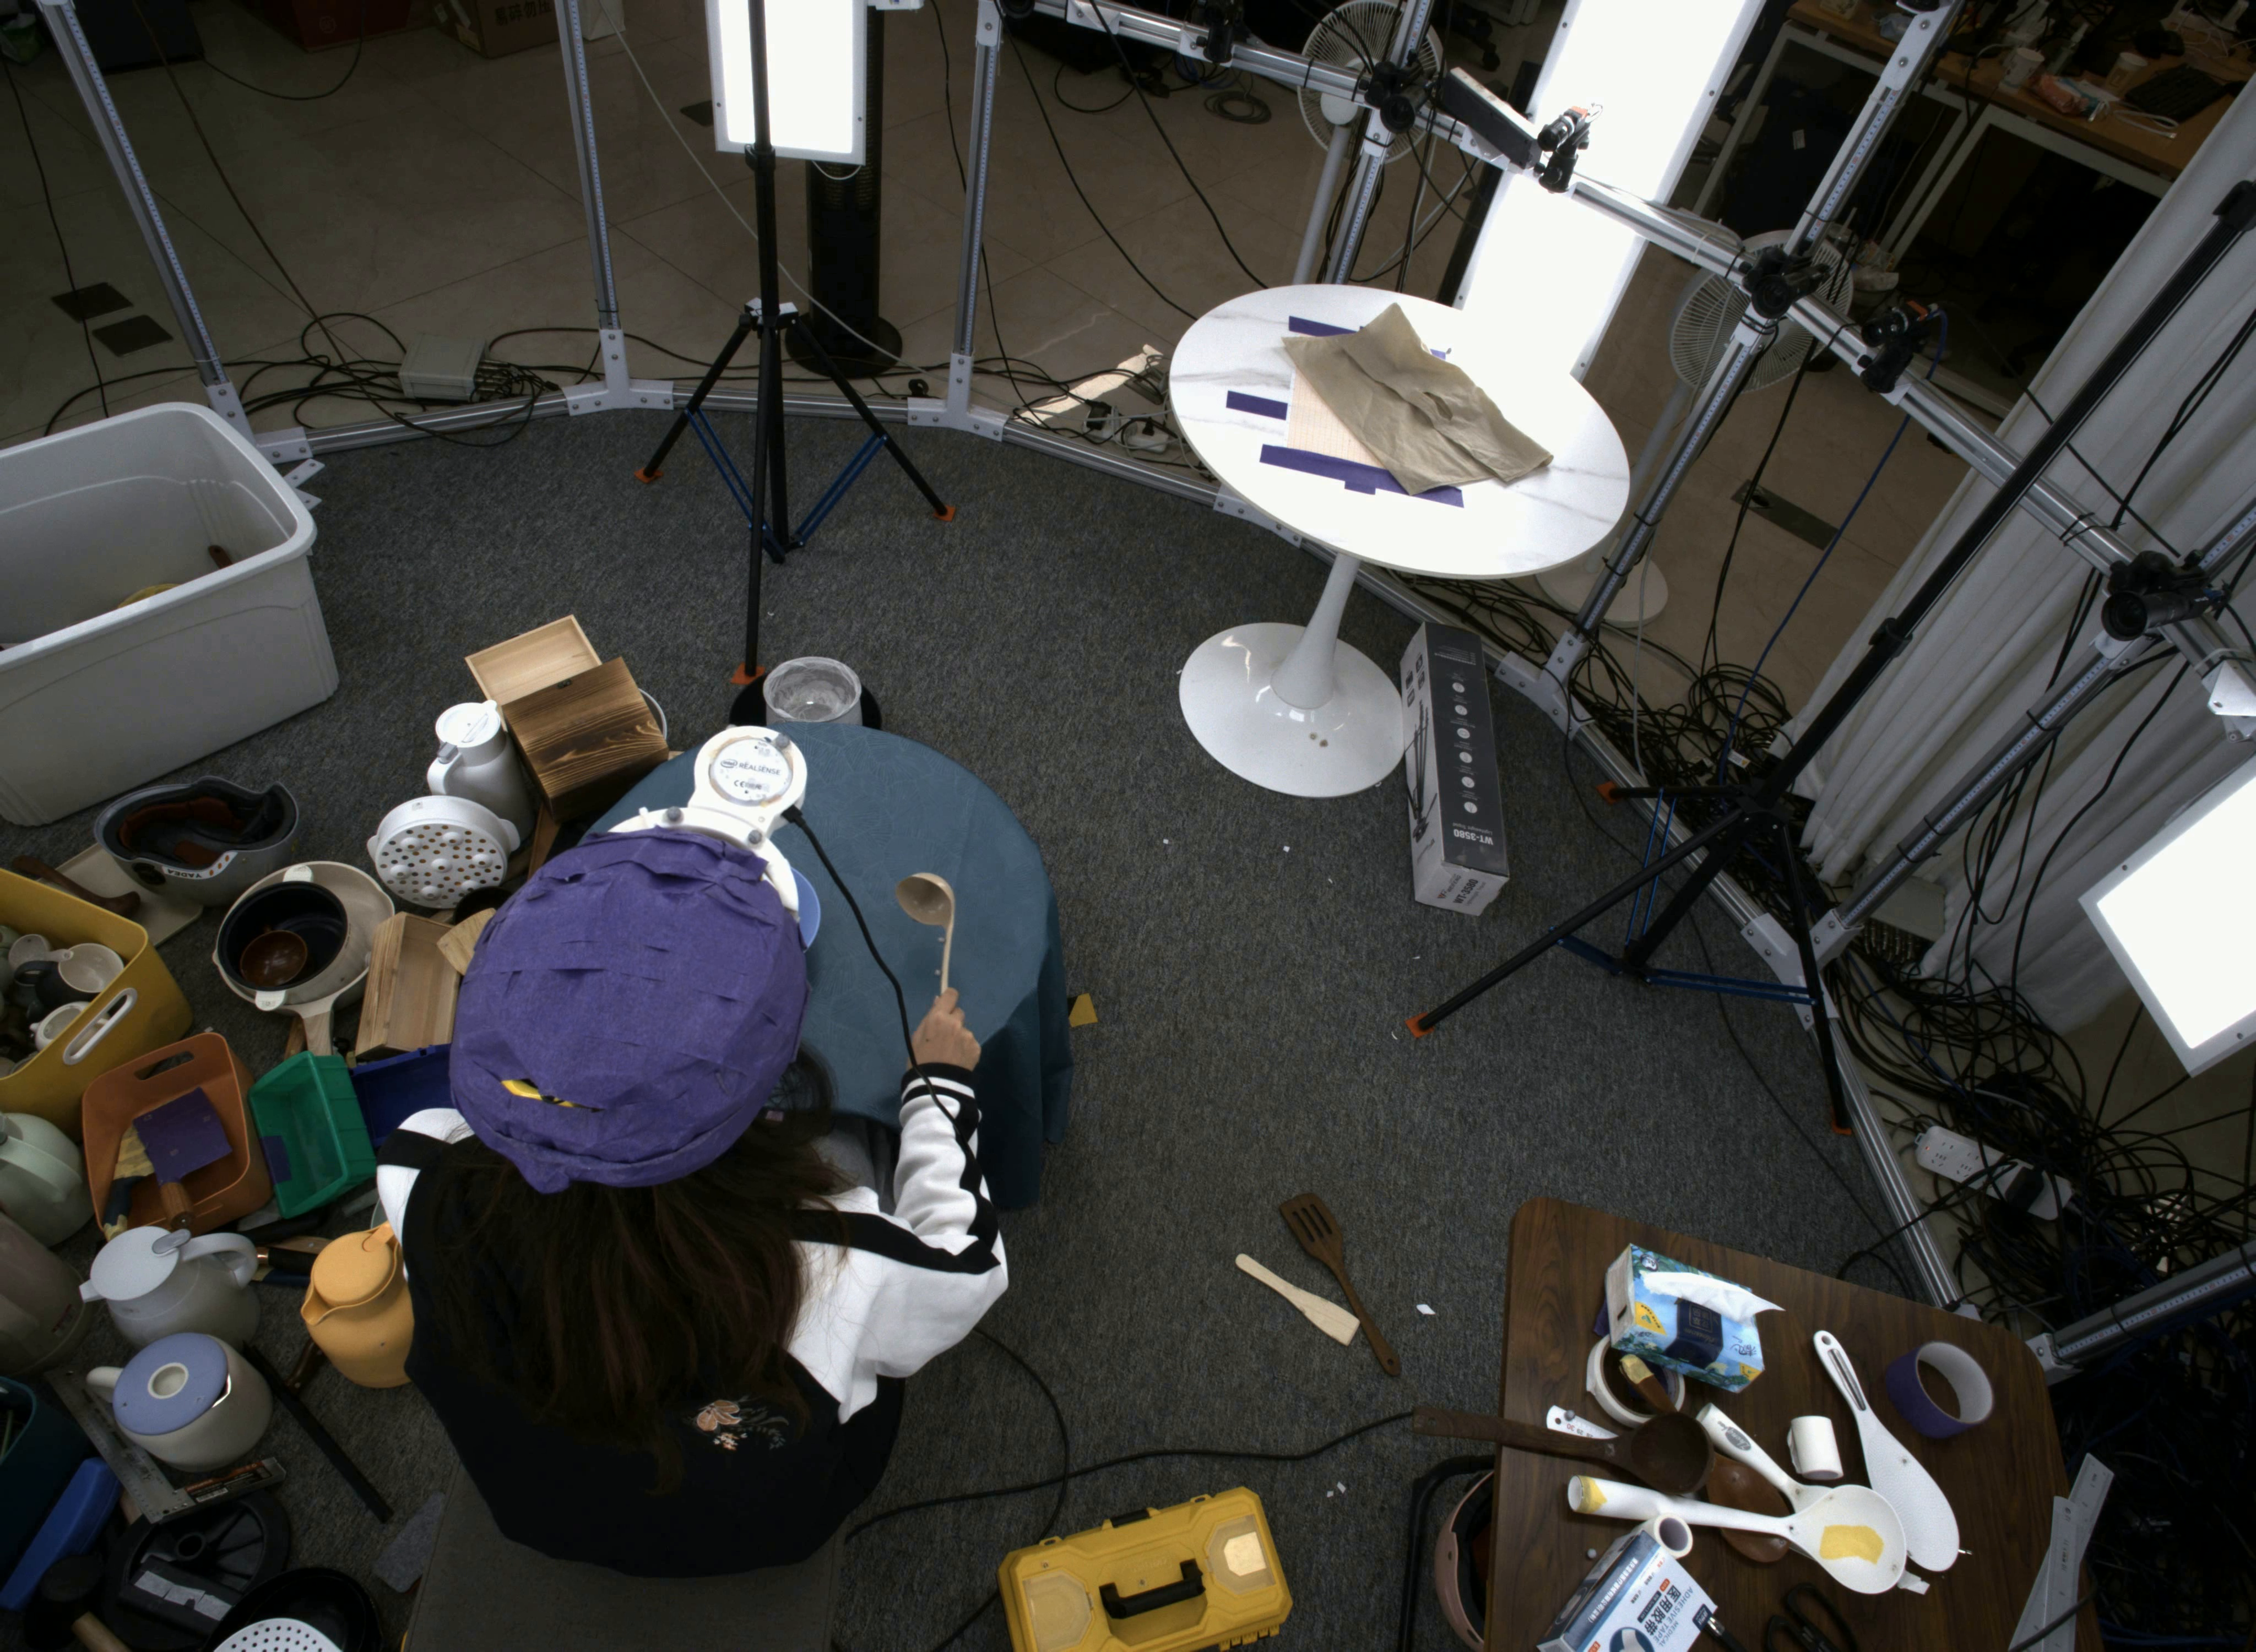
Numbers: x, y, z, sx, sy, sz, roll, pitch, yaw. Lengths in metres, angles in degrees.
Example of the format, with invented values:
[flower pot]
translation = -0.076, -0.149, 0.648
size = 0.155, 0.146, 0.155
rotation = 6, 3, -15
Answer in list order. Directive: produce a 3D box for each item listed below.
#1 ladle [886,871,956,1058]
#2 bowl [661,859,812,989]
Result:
[ladle]
translation = -0.241, 0.154, 1.505
size = 0.074, 0.072, 0.247
rotation = 23, 35, -30
[bowl]
translation = -0.471, 0.128, 1.565
size = 0.175, 0.072, 0.173
rotation = 7, 52, -8
